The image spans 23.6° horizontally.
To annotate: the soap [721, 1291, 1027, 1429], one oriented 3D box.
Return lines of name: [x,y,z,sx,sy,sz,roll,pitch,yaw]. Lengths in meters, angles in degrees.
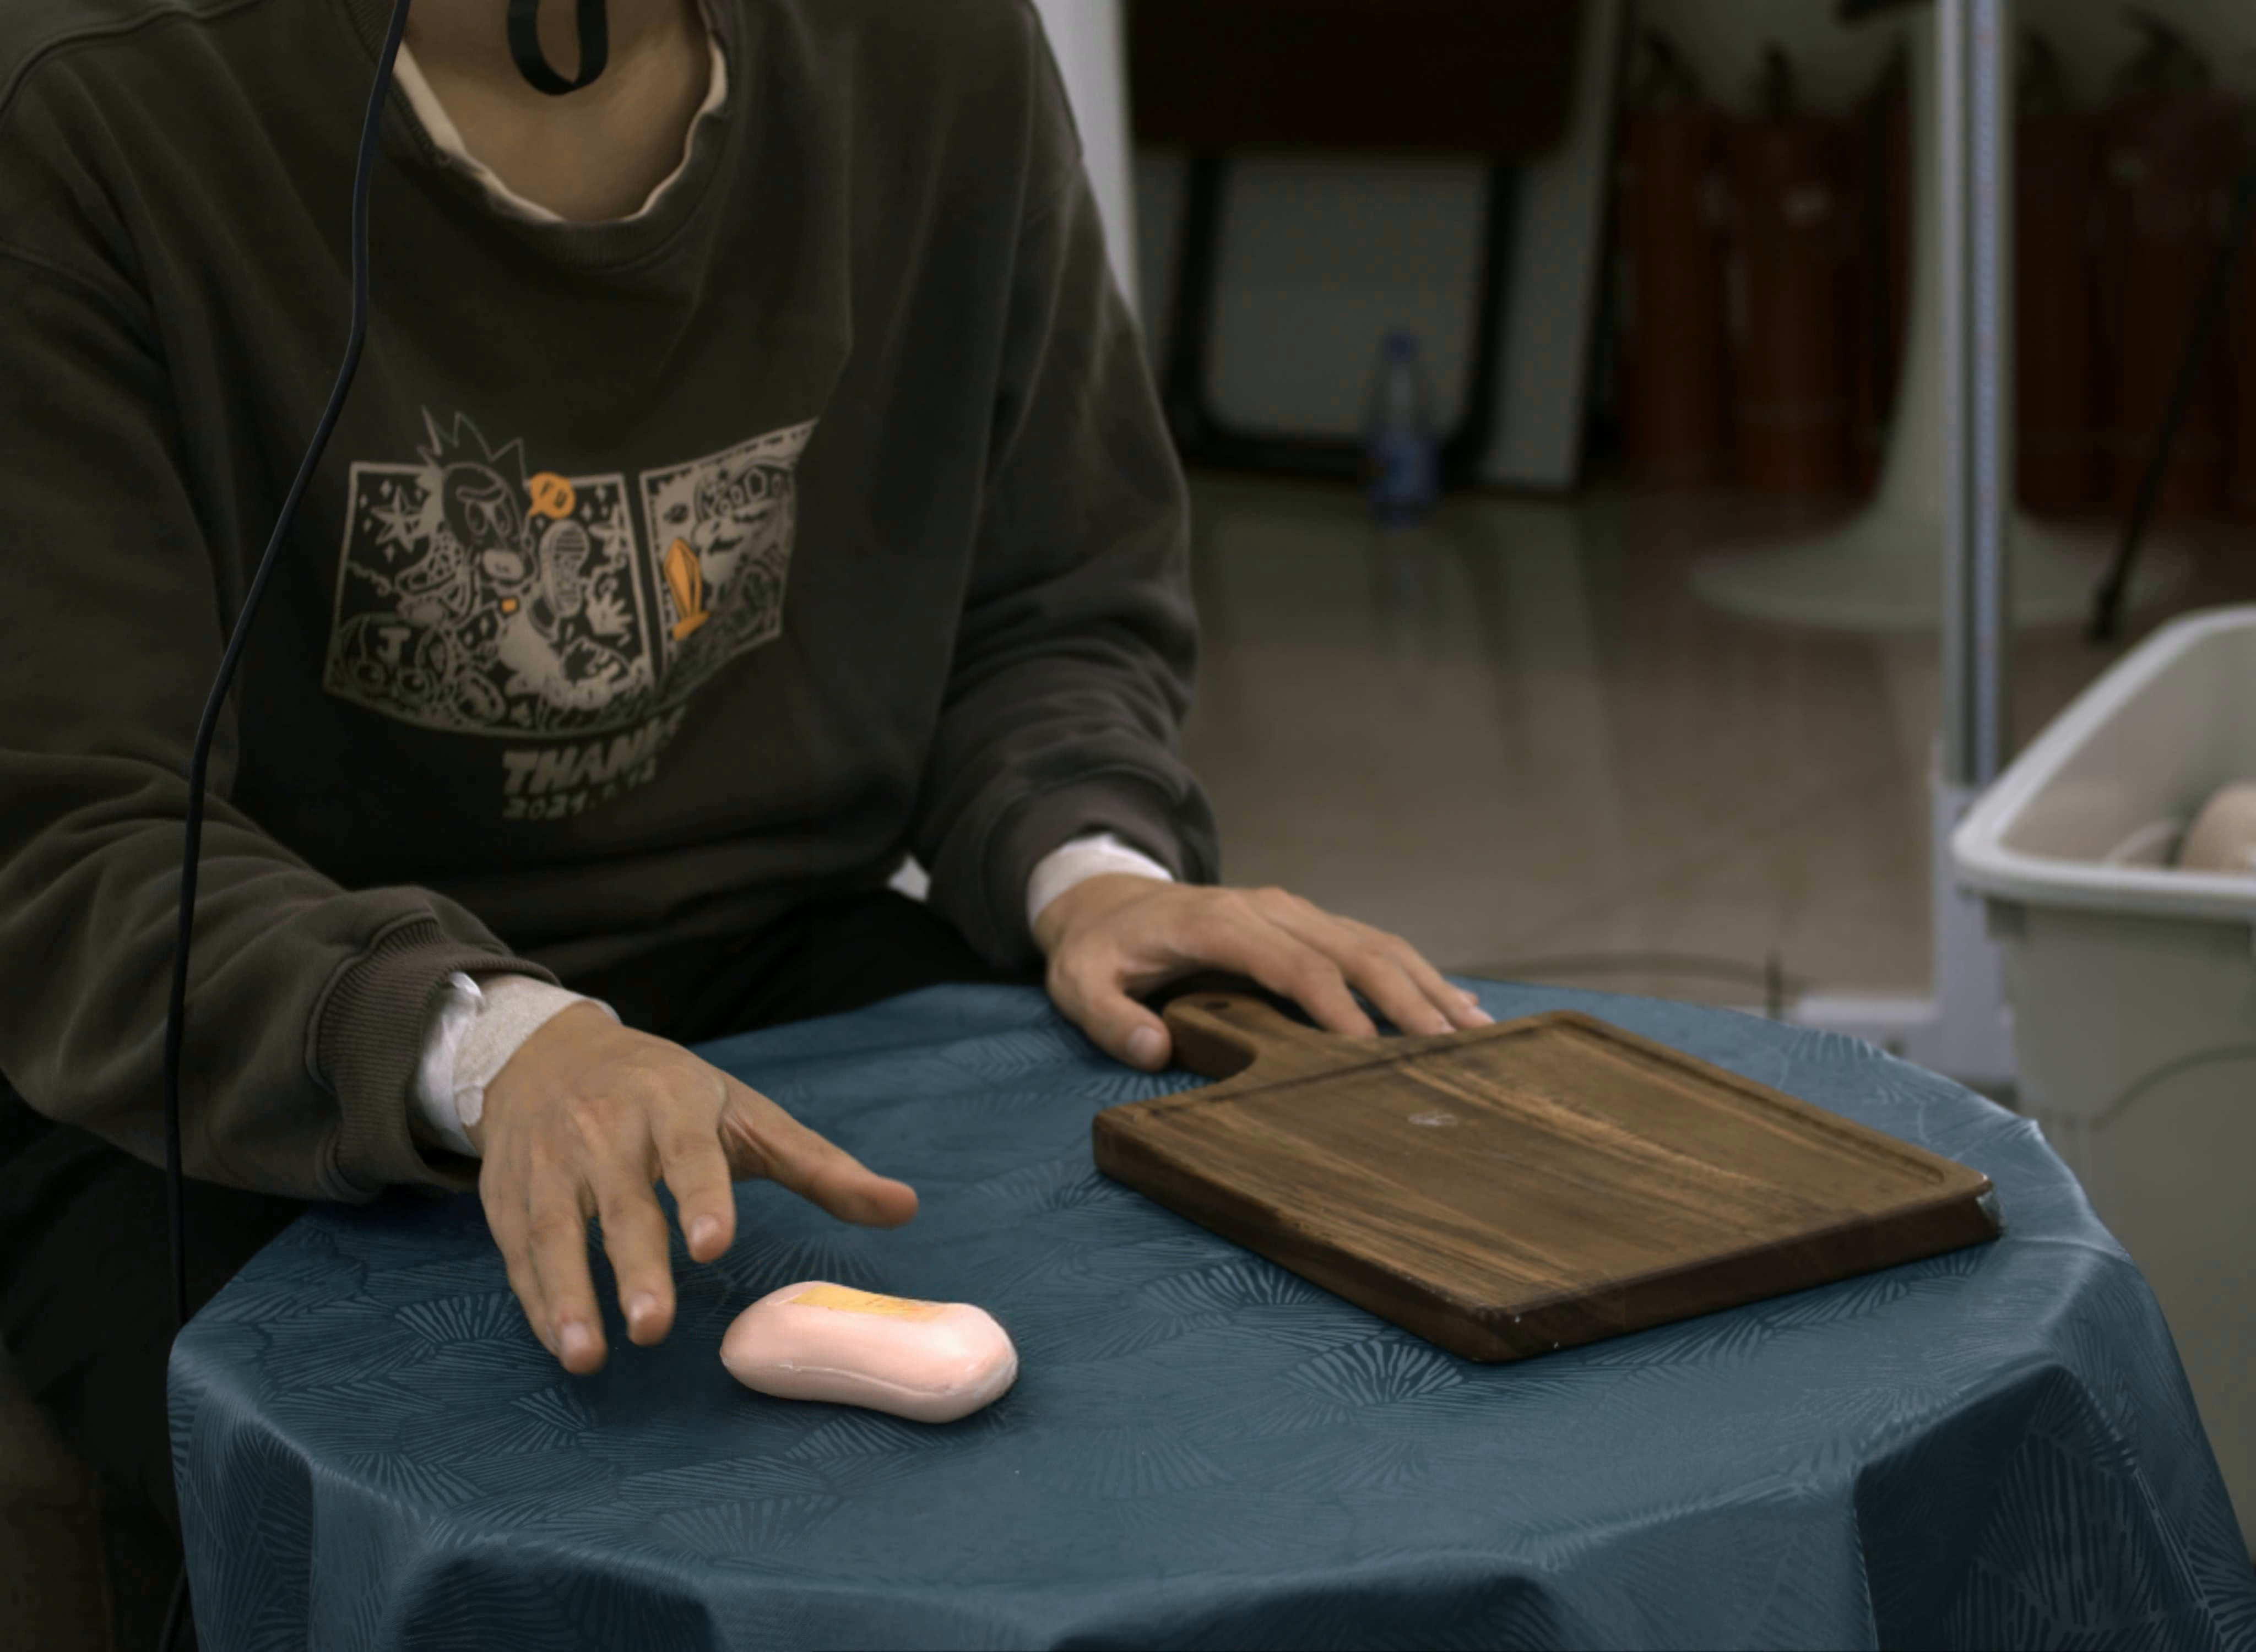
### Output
soap: [-0.075,0.157,1.592,0.095,0.031,0.049,4,14,34]

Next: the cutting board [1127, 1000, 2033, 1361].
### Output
cutting board: [0.118,0.103,1.774,0.197,0.023,0.356,-11,15,-25]
